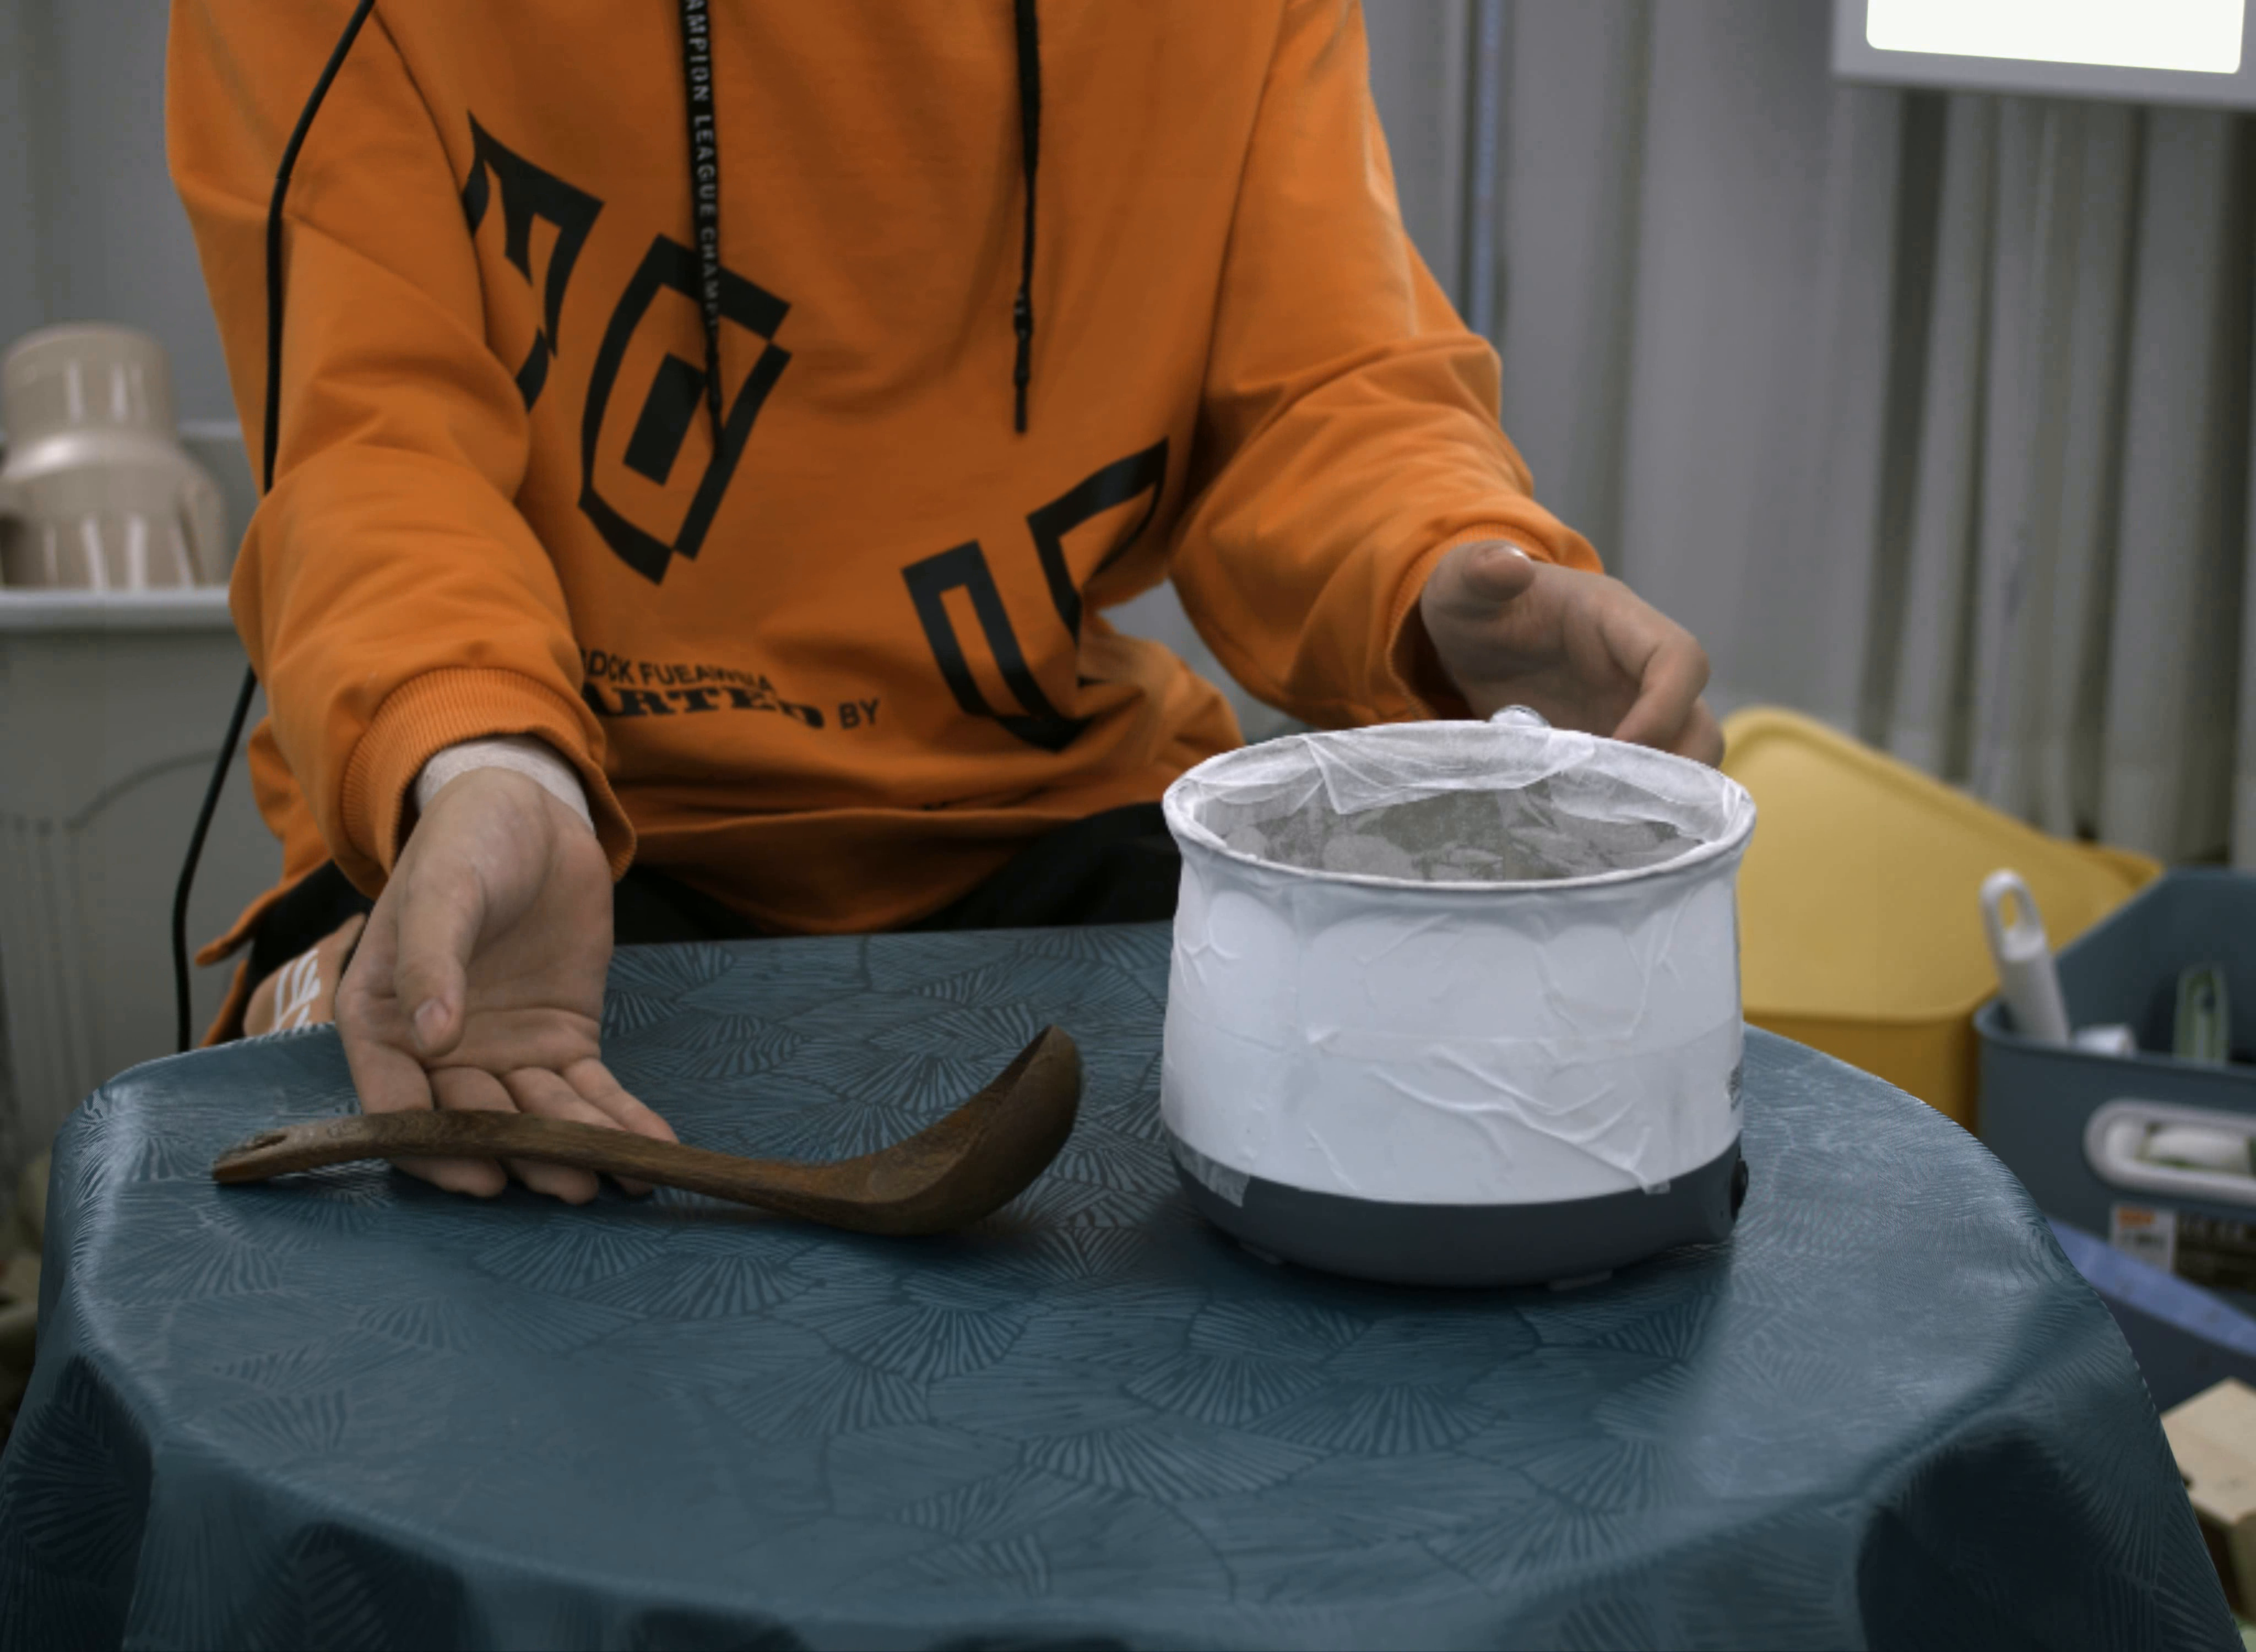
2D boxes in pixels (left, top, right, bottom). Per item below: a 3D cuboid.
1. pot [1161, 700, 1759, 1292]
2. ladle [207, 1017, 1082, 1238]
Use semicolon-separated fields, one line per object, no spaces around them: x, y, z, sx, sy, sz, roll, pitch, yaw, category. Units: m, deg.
0.104;0.045;1.608;0.177;0.138;0.233;4;17;11;pot
-0.148;0.083;1.592;0.272;0.072;0.076;4;16;11;ladle
